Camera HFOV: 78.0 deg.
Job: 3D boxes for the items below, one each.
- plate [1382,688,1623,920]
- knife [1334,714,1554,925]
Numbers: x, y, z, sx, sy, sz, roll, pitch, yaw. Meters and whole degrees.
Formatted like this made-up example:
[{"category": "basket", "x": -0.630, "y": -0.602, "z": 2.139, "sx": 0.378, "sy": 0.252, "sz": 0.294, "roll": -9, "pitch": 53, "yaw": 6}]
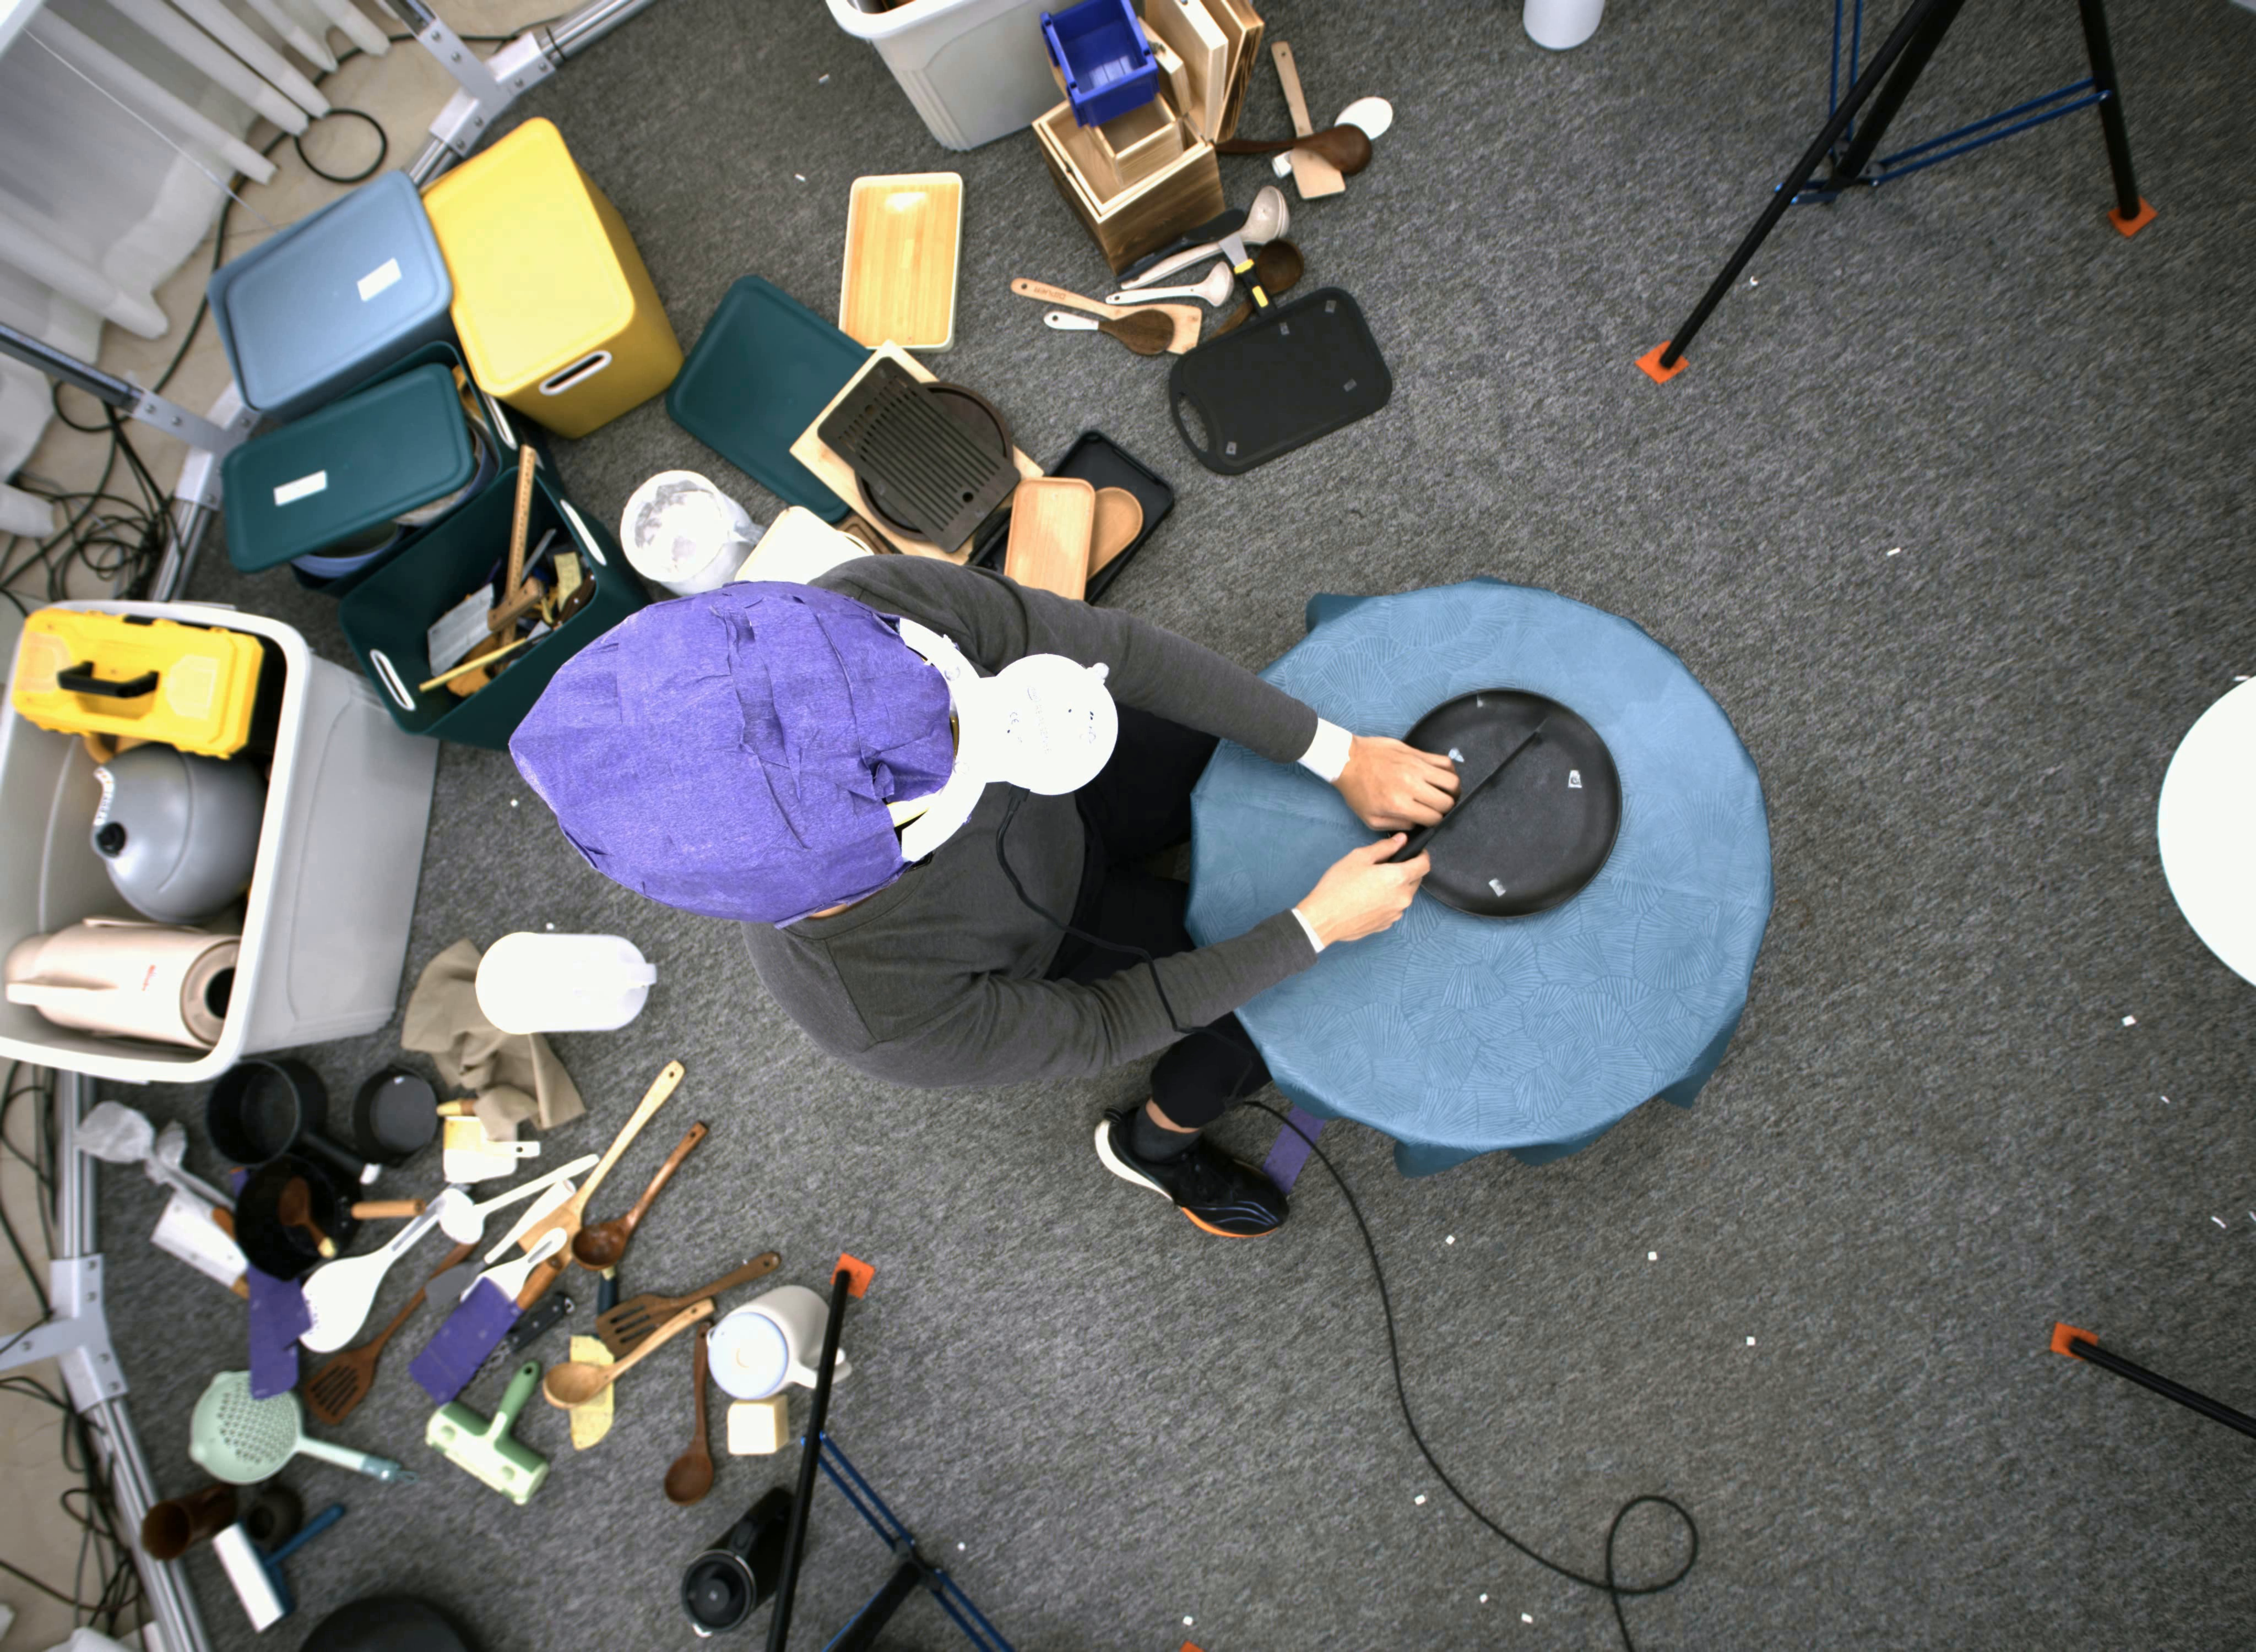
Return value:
[{"category": "plate", "x": 0.389, "y": -0.025, "z": 1.432, "sx": 0.245, "sy": 0.023, "sz": 0.243, "roll": -1, "pitch": 87, "yaw": 11}, {"category": "knife", "x": 0.325, "y": -0.009, "z": 1.406, "sx": 0.303, "sy": 0.081, "sz": 0.021, "roll": -43, "pitch": 76, "yaw": 2}]
